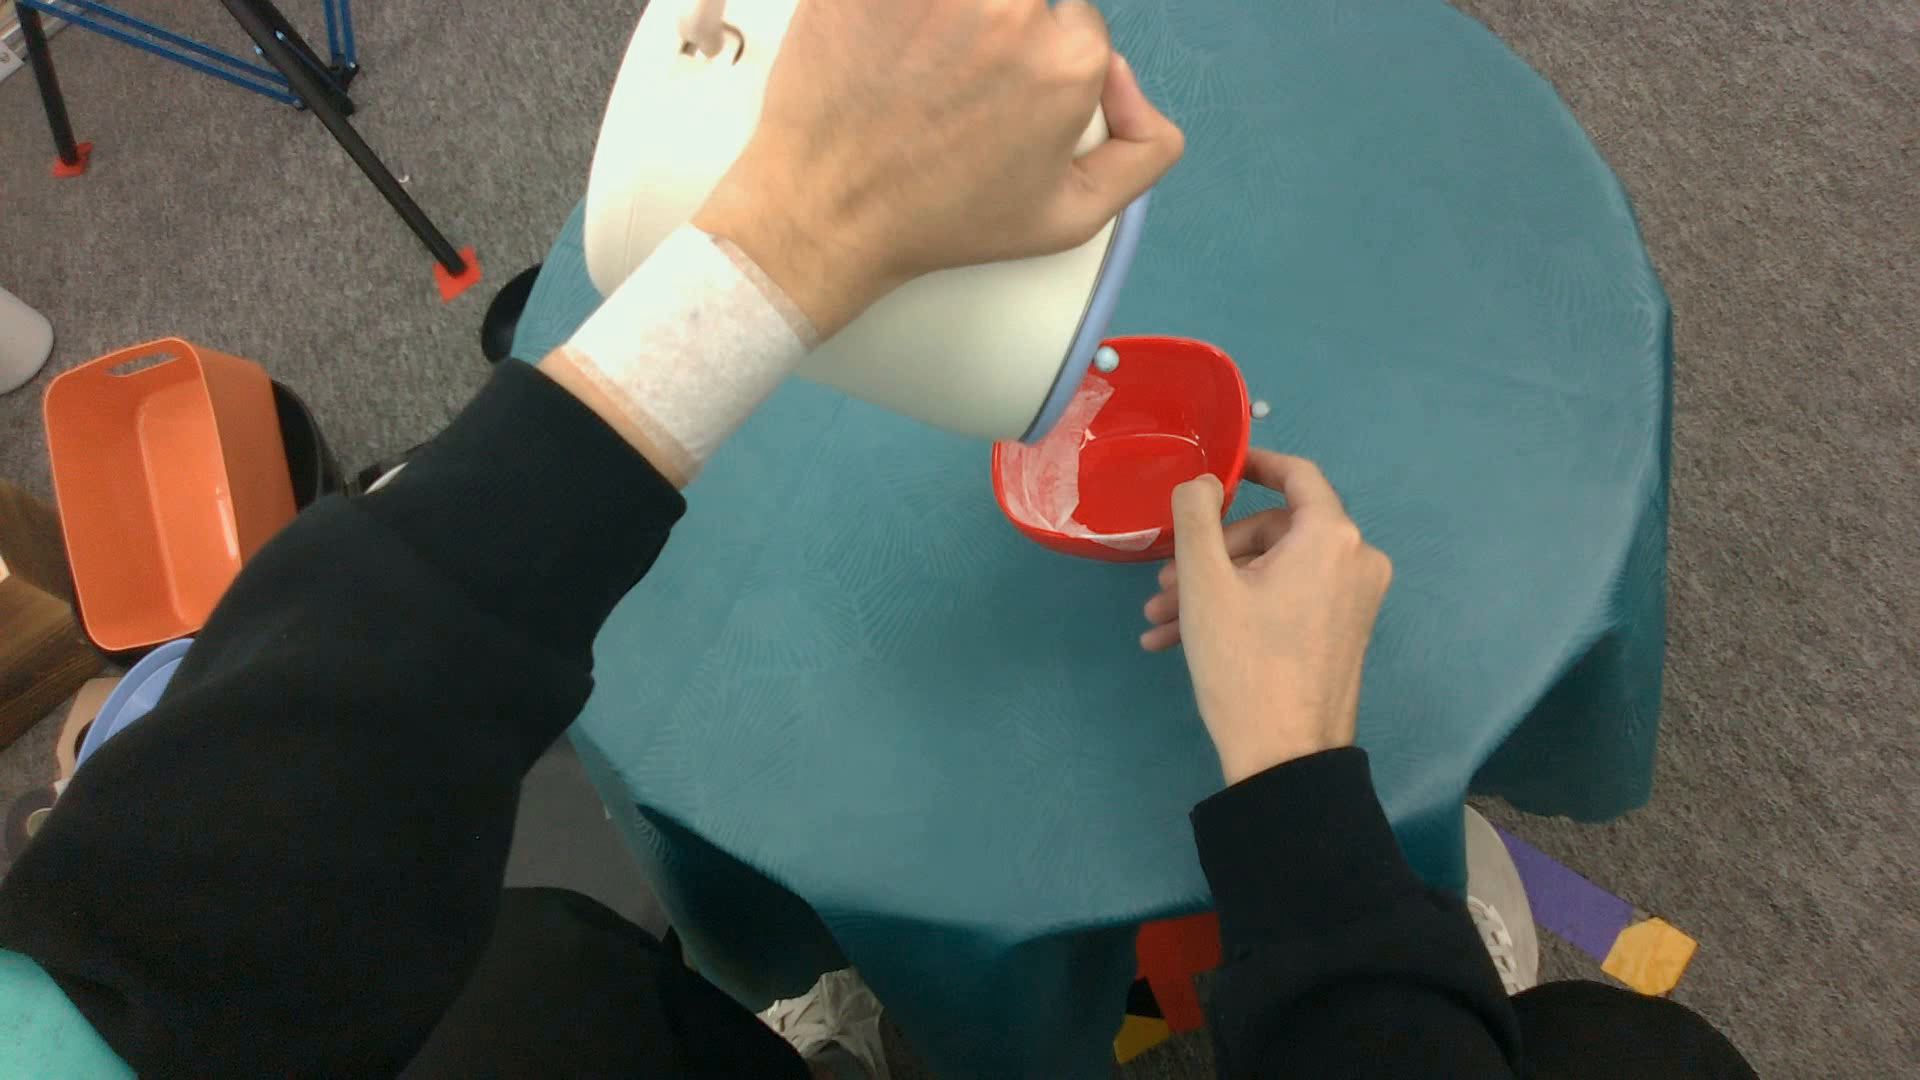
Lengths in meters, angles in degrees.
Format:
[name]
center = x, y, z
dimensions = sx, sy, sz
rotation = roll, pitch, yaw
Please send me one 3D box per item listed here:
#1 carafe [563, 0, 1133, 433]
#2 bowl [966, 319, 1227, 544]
[carafe]
center = -0.035, -0.128, 0.477
dimensions = 0.182, 0.190, 0.132
rotation = 19, 76, -5
[bowl]
center = 0.062, -0.040, 0.599
dimensions = 0.119, 0.051, 0.119
rotation = -8, 52, 10
